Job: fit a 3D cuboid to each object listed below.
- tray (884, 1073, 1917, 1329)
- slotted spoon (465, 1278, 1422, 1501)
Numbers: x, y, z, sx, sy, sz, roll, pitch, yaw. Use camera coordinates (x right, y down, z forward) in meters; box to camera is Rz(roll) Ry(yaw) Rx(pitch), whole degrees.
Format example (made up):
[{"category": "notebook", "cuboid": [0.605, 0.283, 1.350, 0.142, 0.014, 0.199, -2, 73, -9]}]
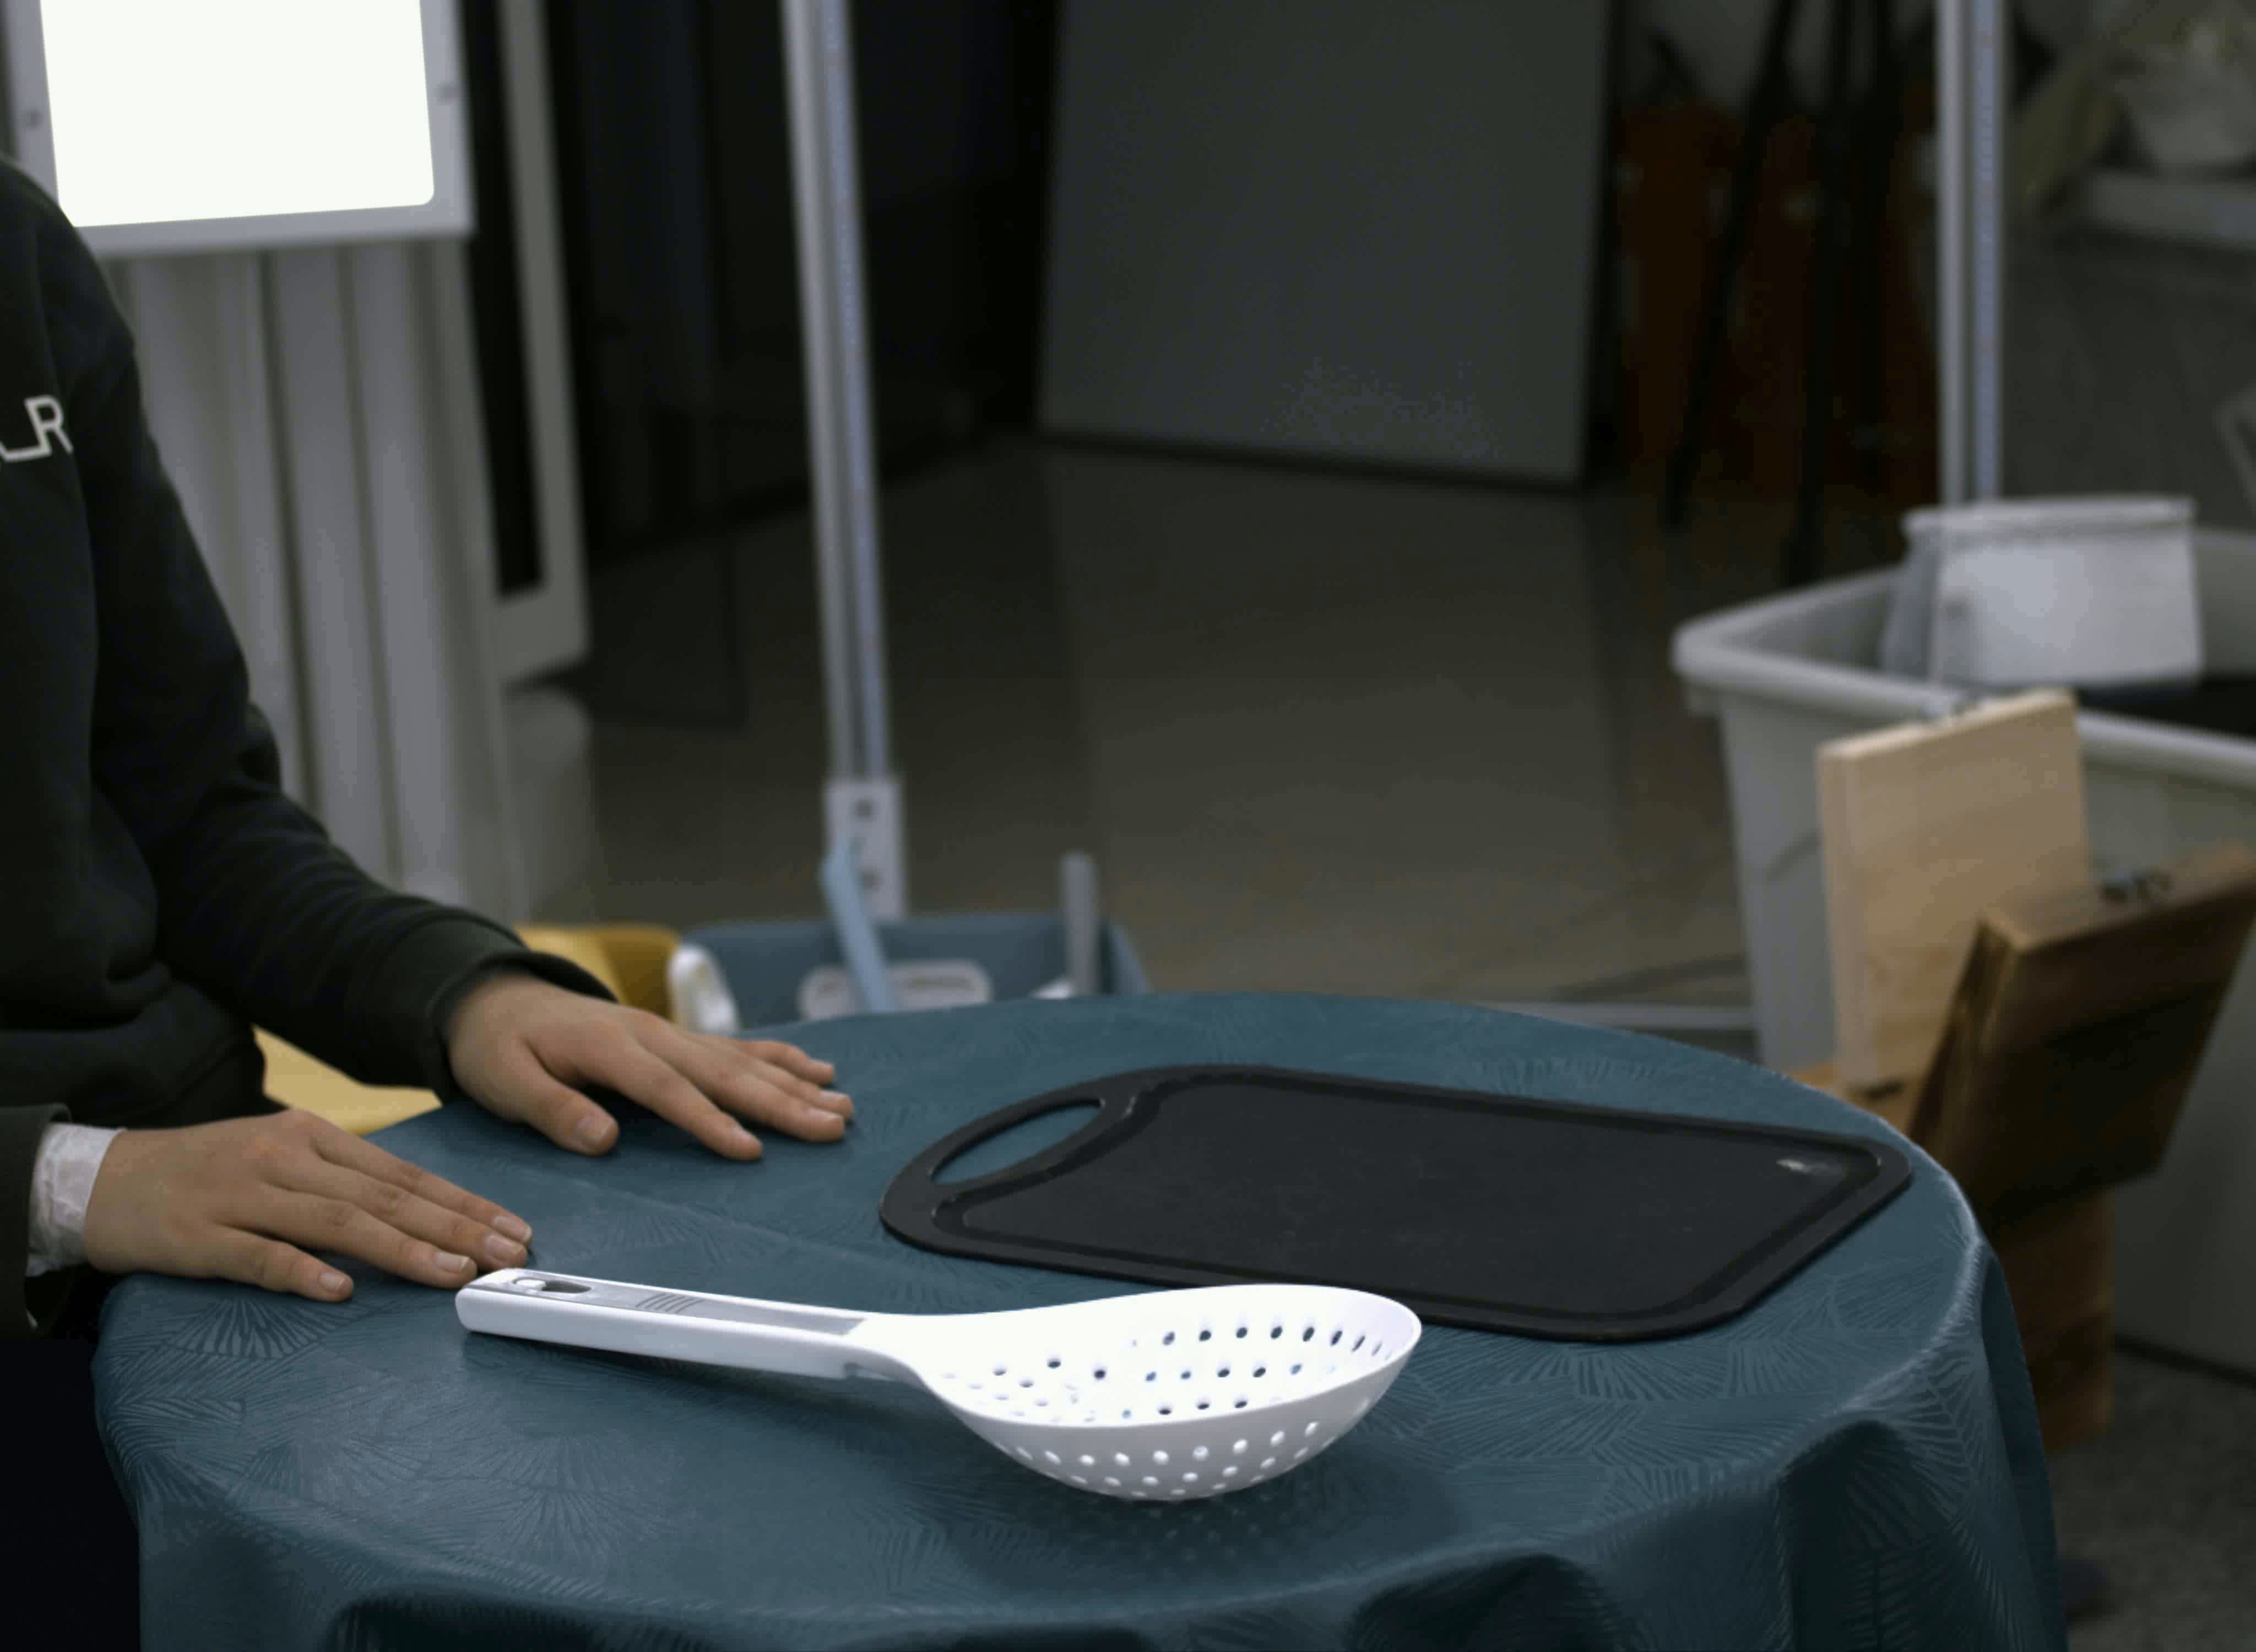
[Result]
[{"category": "tray", "cuboid": [0.080, 0.117, 1.749, 0.327, 0.010, 0.208, 4, 16, 32]}, {"category": "slotted spoon", "cuboid": [-0.066, 0.152, 1.570, 0.352, 0.046, 0.133, 7, 15, 40]}]
